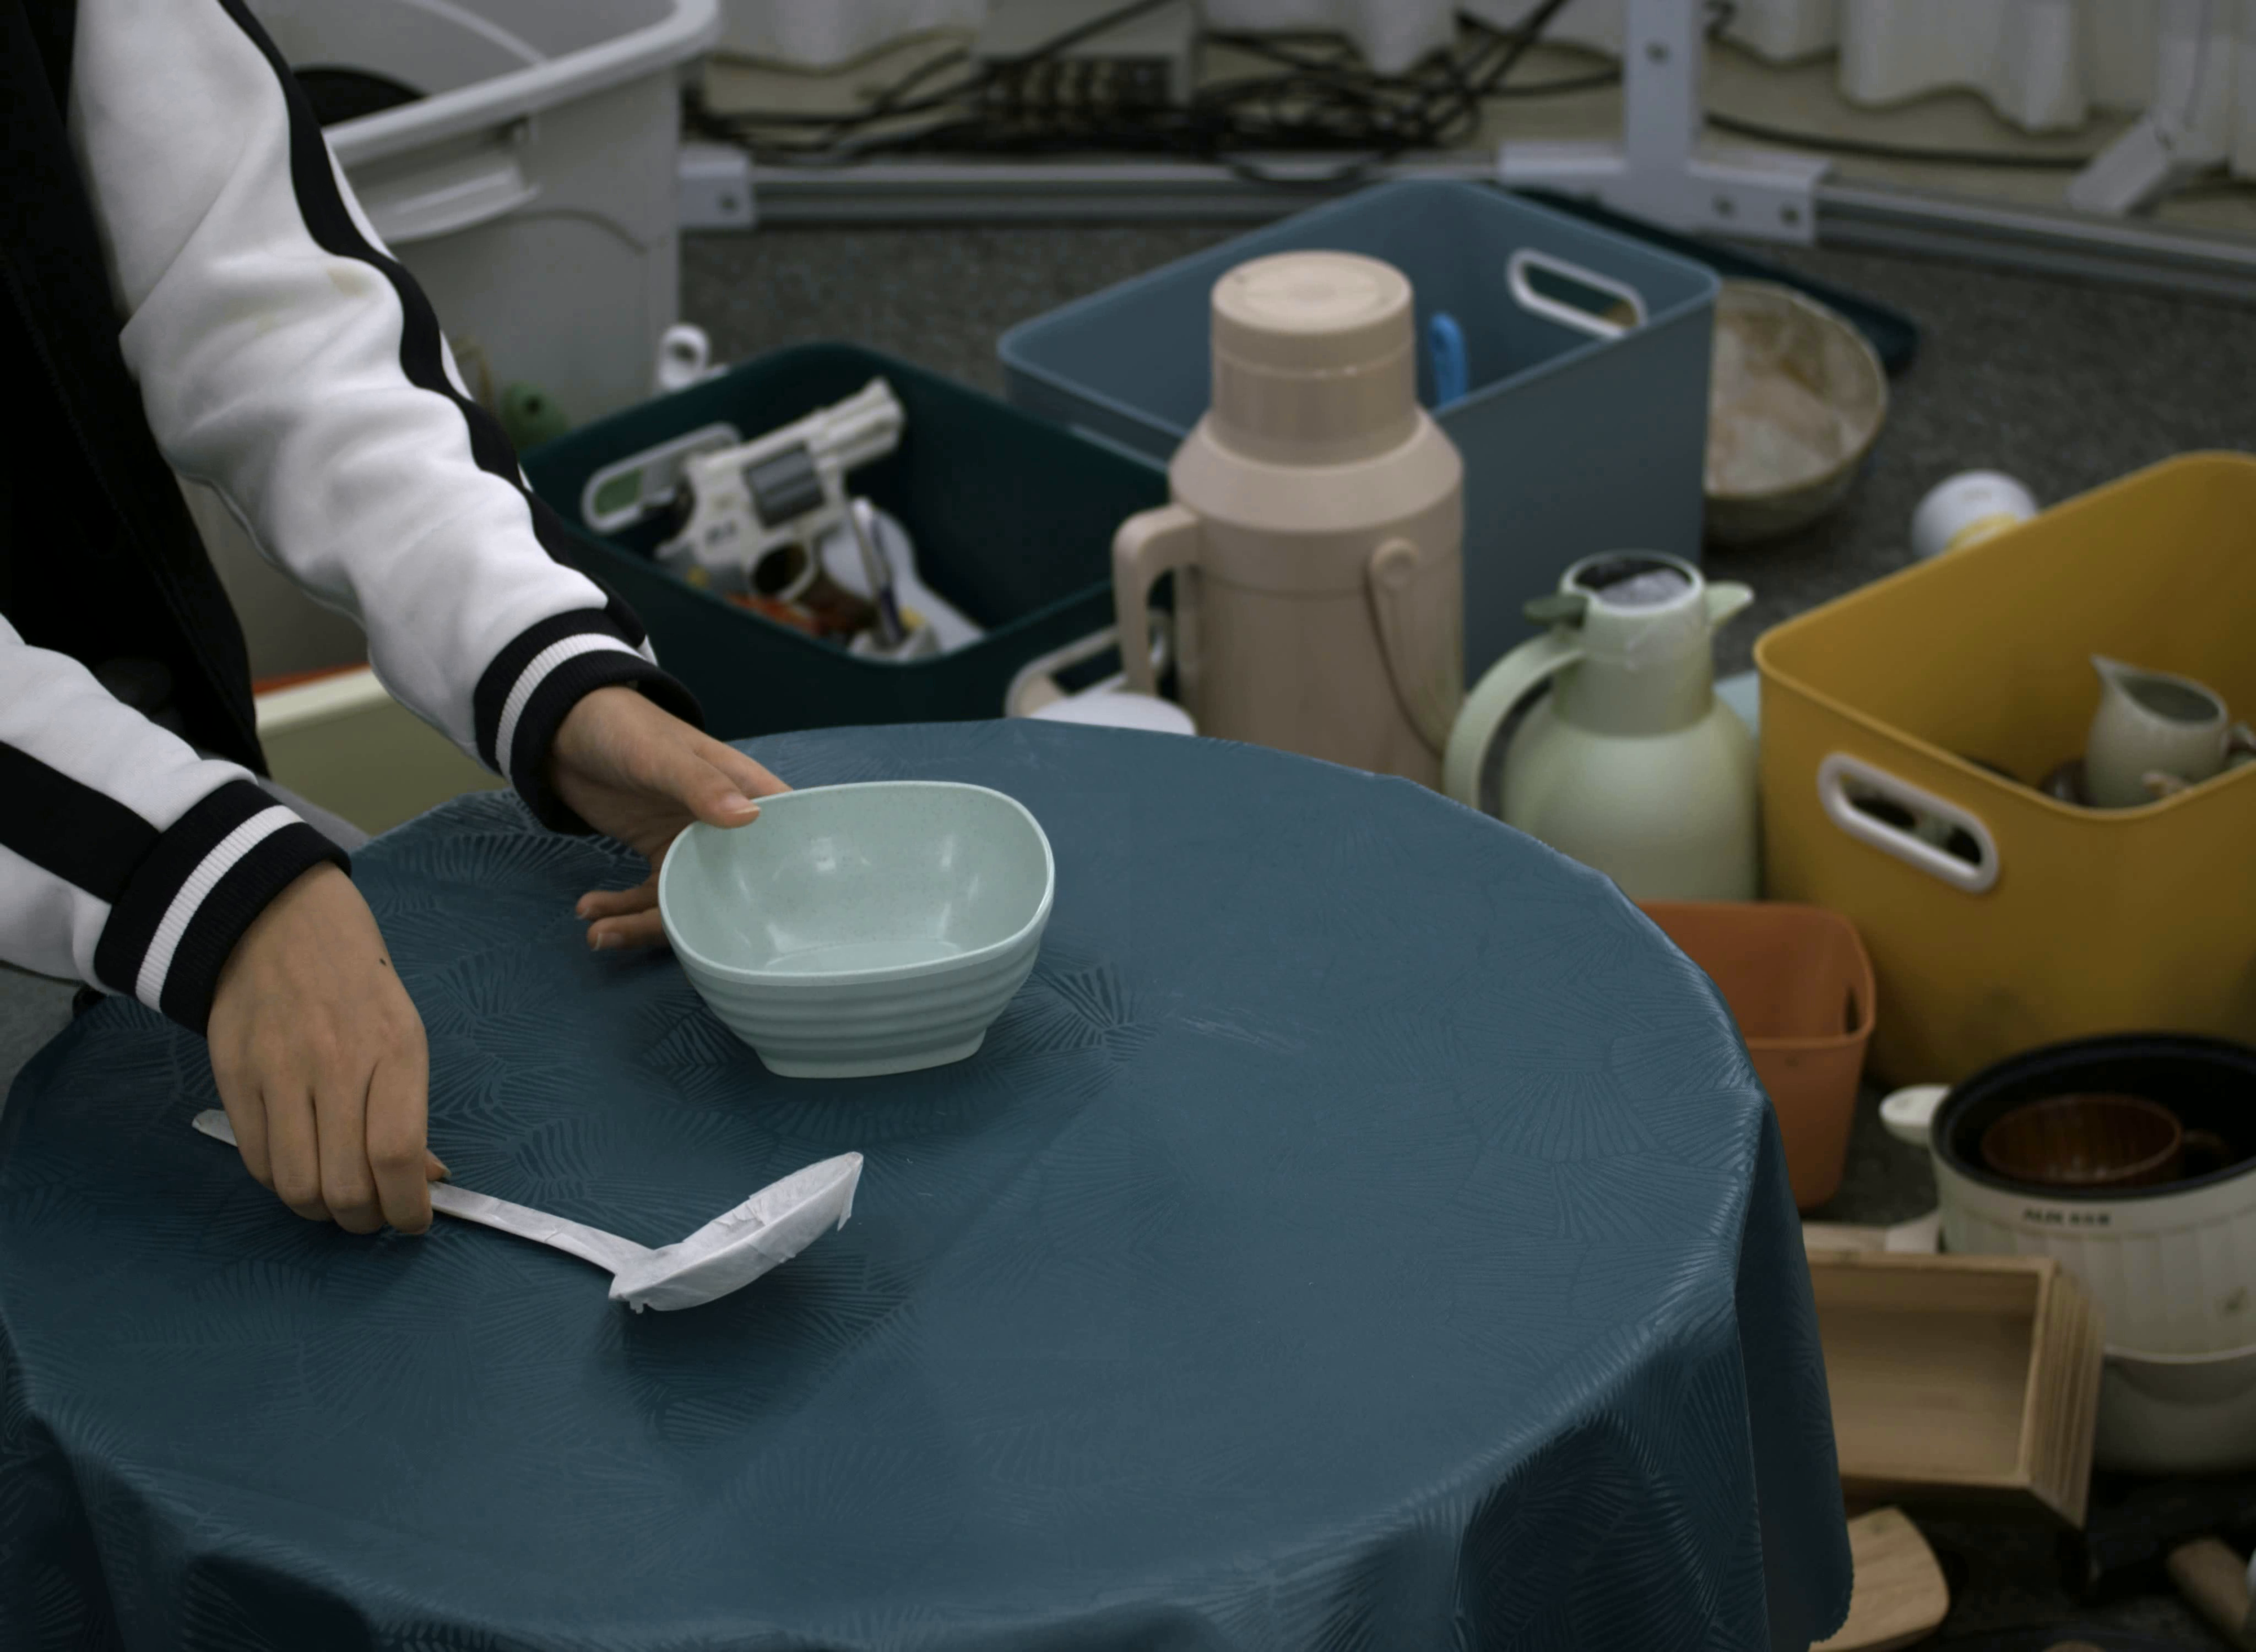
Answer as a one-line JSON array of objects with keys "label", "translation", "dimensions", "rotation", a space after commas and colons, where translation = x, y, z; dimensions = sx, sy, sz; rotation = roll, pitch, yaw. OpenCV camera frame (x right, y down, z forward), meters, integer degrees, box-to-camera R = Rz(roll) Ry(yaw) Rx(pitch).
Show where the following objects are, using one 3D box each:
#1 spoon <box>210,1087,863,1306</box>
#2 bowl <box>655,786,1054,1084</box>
[{"label": "spoon", "translation": [-0.202, 0.103, 1.856], "dimensions": [0.276, 0.059, 0.102], "rotation": [17, 27, 34]}, {"label": "bowl", "translation": [-0.094, 0.044, 1.963], "dimensions": [0.151, 0.058, 0.154], "rotation": [-1, 28, 1]}]
